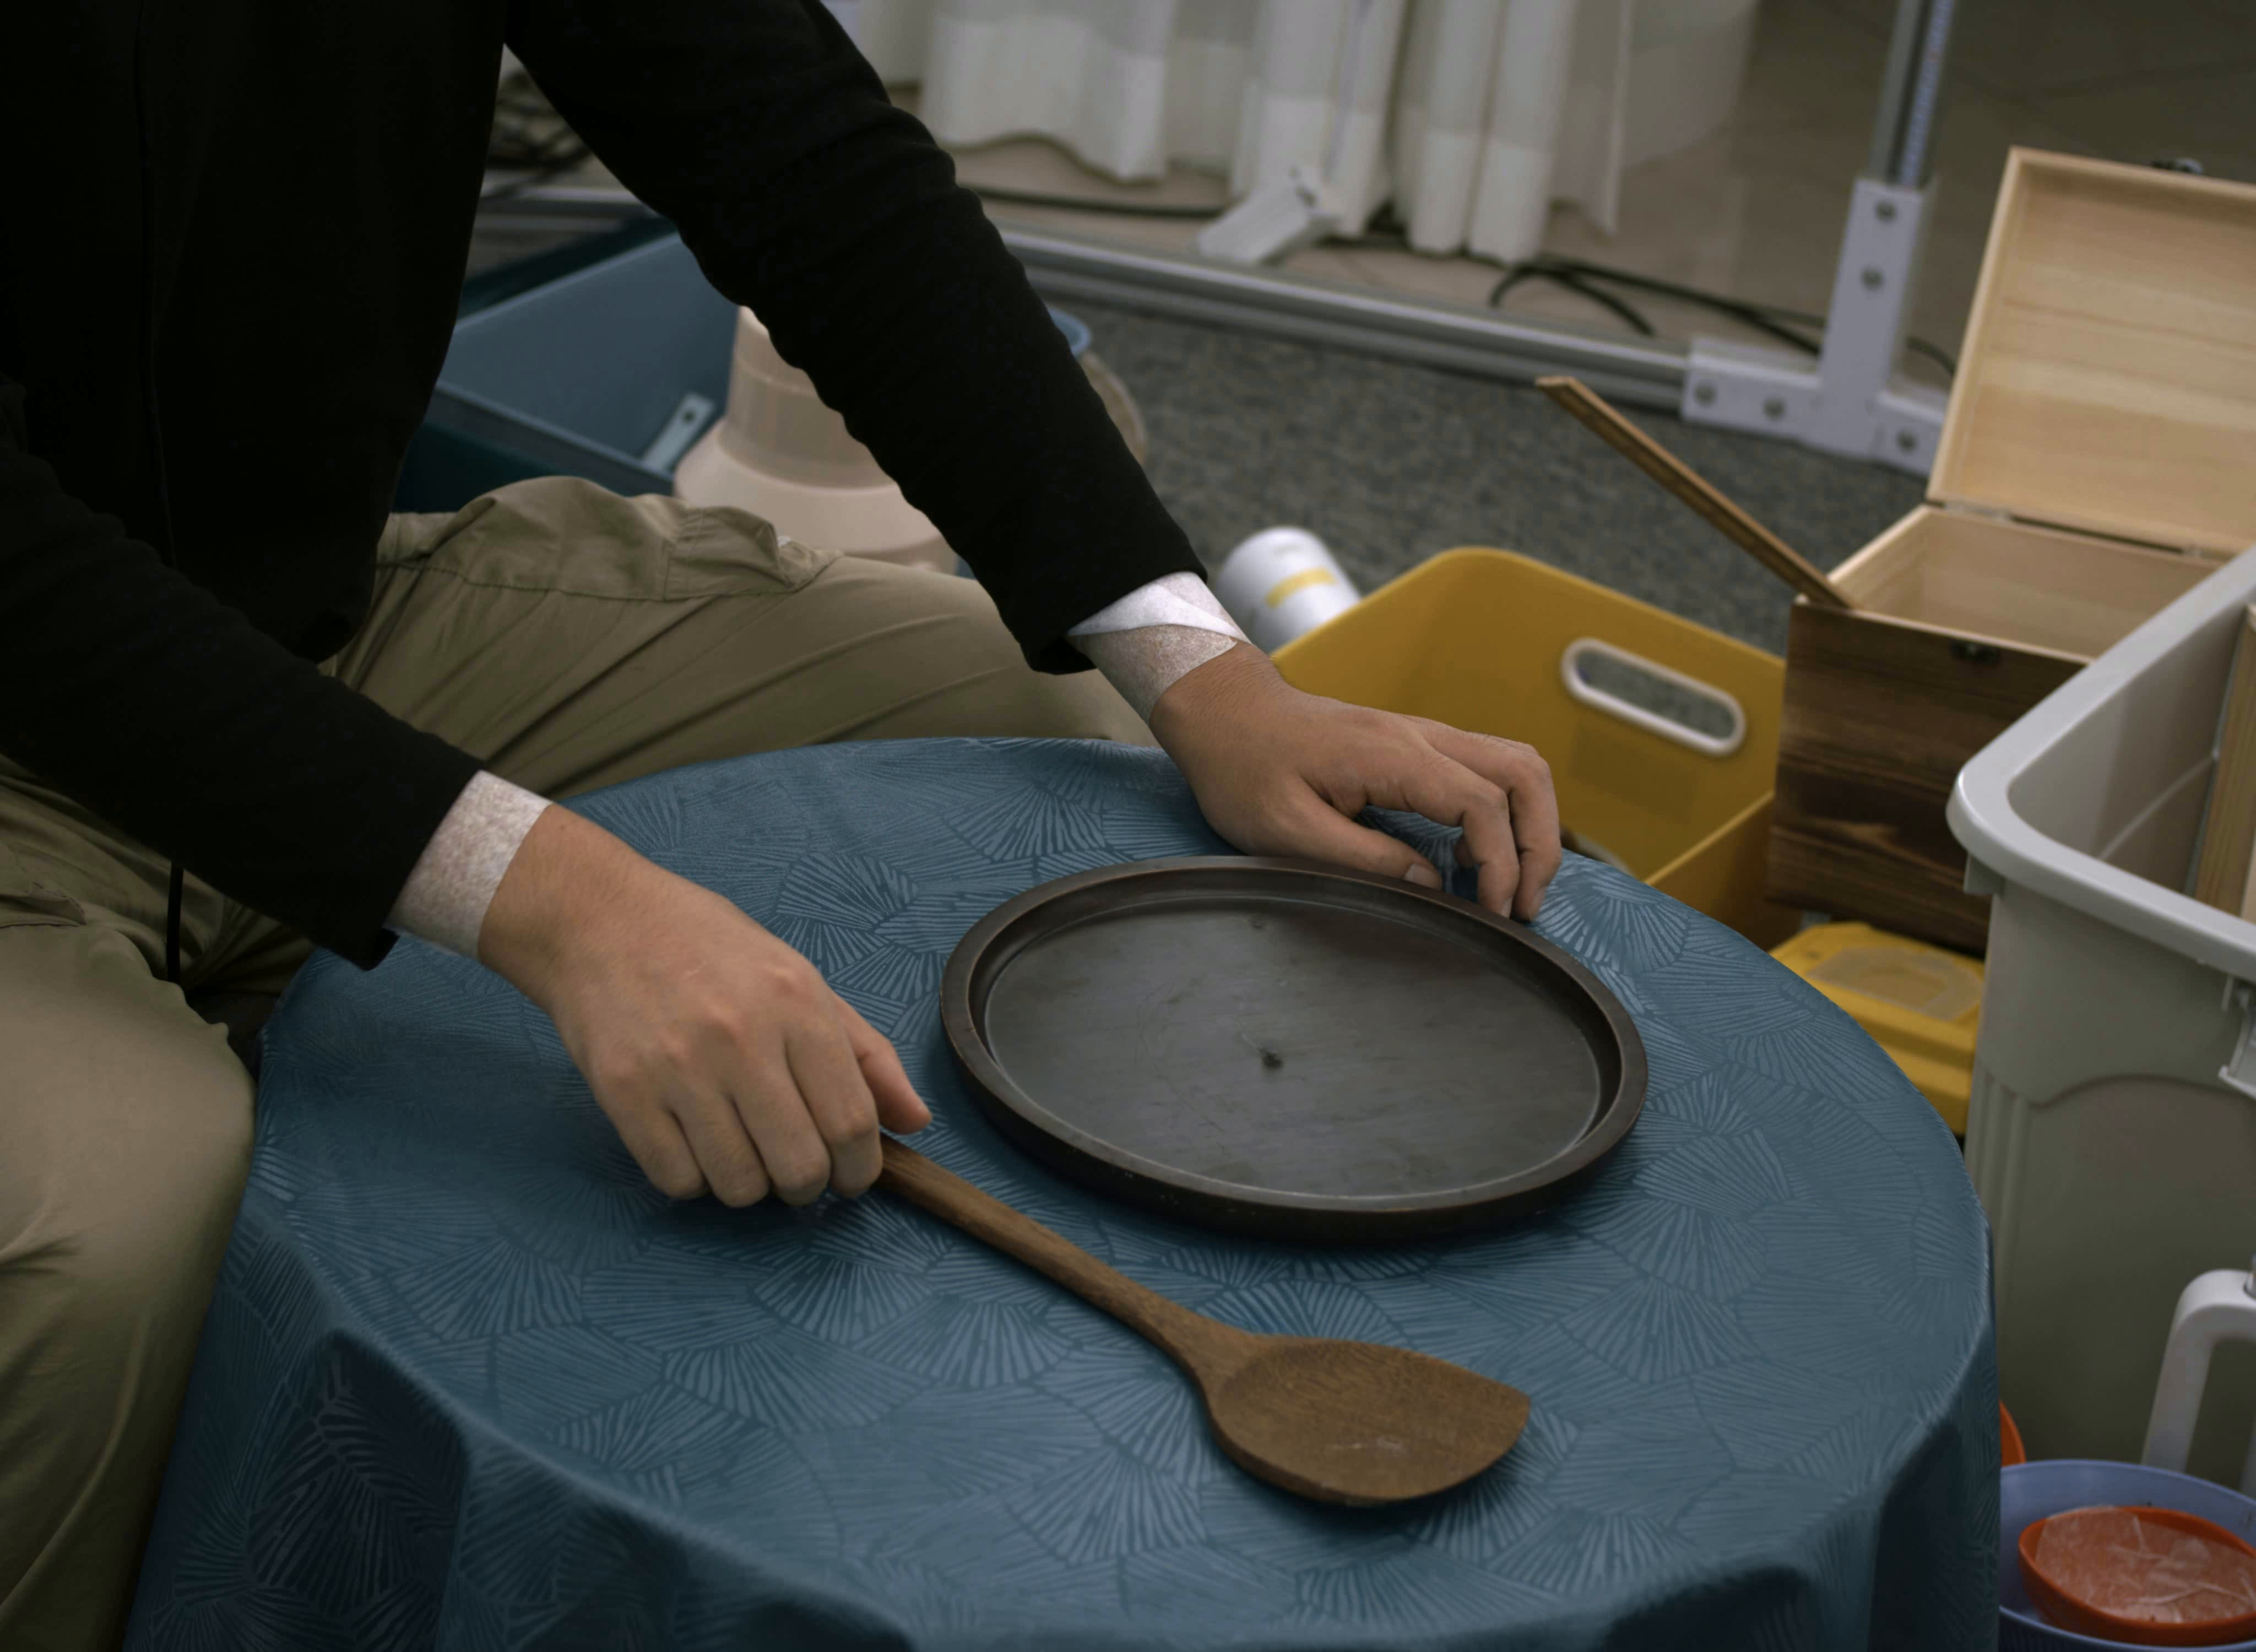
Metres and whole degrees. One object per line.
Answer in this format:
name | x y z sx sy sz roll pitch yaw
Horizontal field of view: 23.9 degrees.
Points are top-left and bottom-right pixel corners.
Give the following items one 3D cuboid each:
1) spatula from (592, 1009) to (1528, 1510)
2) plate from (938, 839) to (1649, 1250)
spatula | -0.038 0.134 1.755 0.388 0.016 0.096 26 32 33
plate | 0.058 0.078 1.877 0.254 0.029 0.256 4 28 -2
